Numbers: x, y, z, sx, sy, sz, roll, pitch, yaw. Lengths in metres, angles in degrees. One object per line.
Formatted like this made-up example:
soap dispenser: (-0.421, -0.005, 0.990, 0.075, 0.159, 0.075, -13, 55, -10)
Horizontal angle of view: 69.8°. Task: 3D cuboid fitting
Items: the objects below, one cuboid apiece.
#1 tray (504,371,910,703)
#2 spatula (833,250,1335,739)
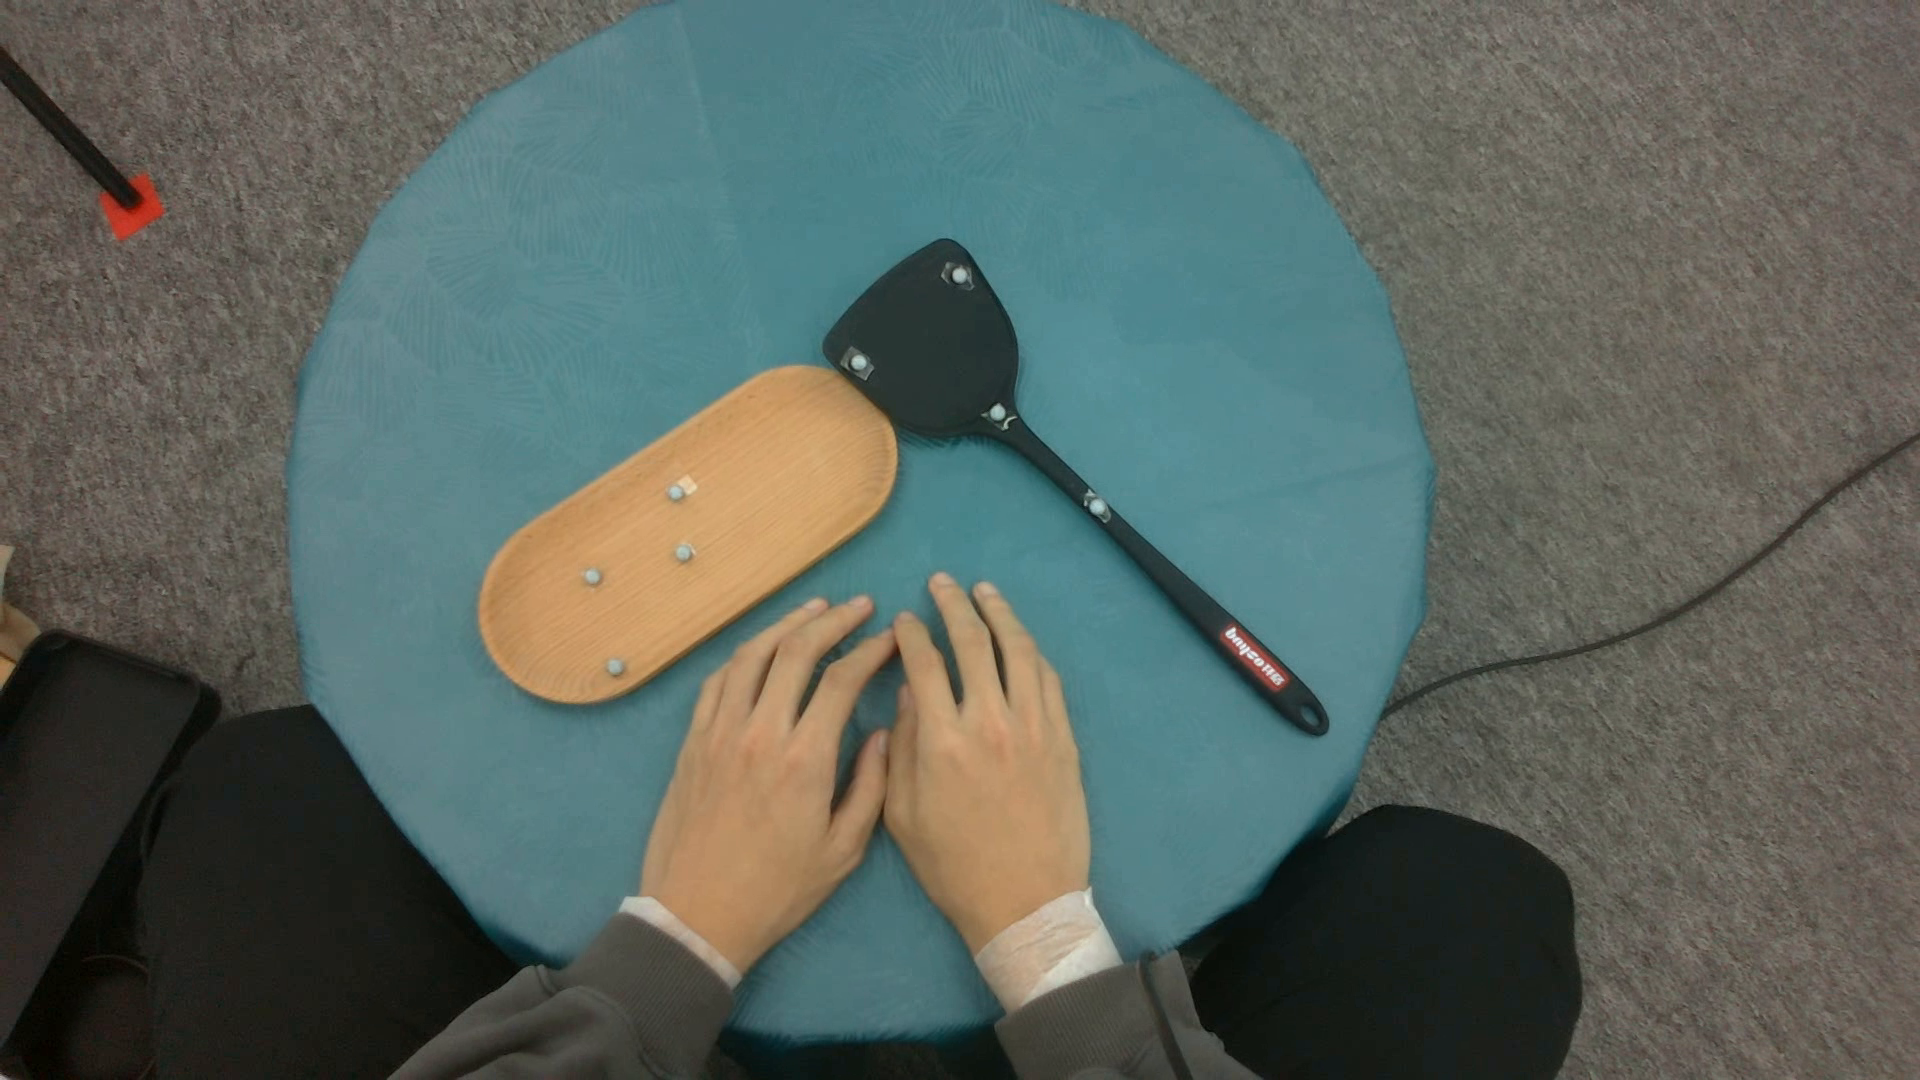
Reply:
tray: (-0.129, -0.004, 0.719, 0.231, 0.020, 0.102, -36, 77, -13)
spatula: (0.075, -0.016, 0.720, 0.100, 0.040, 0.326, -43, 78, -12)
